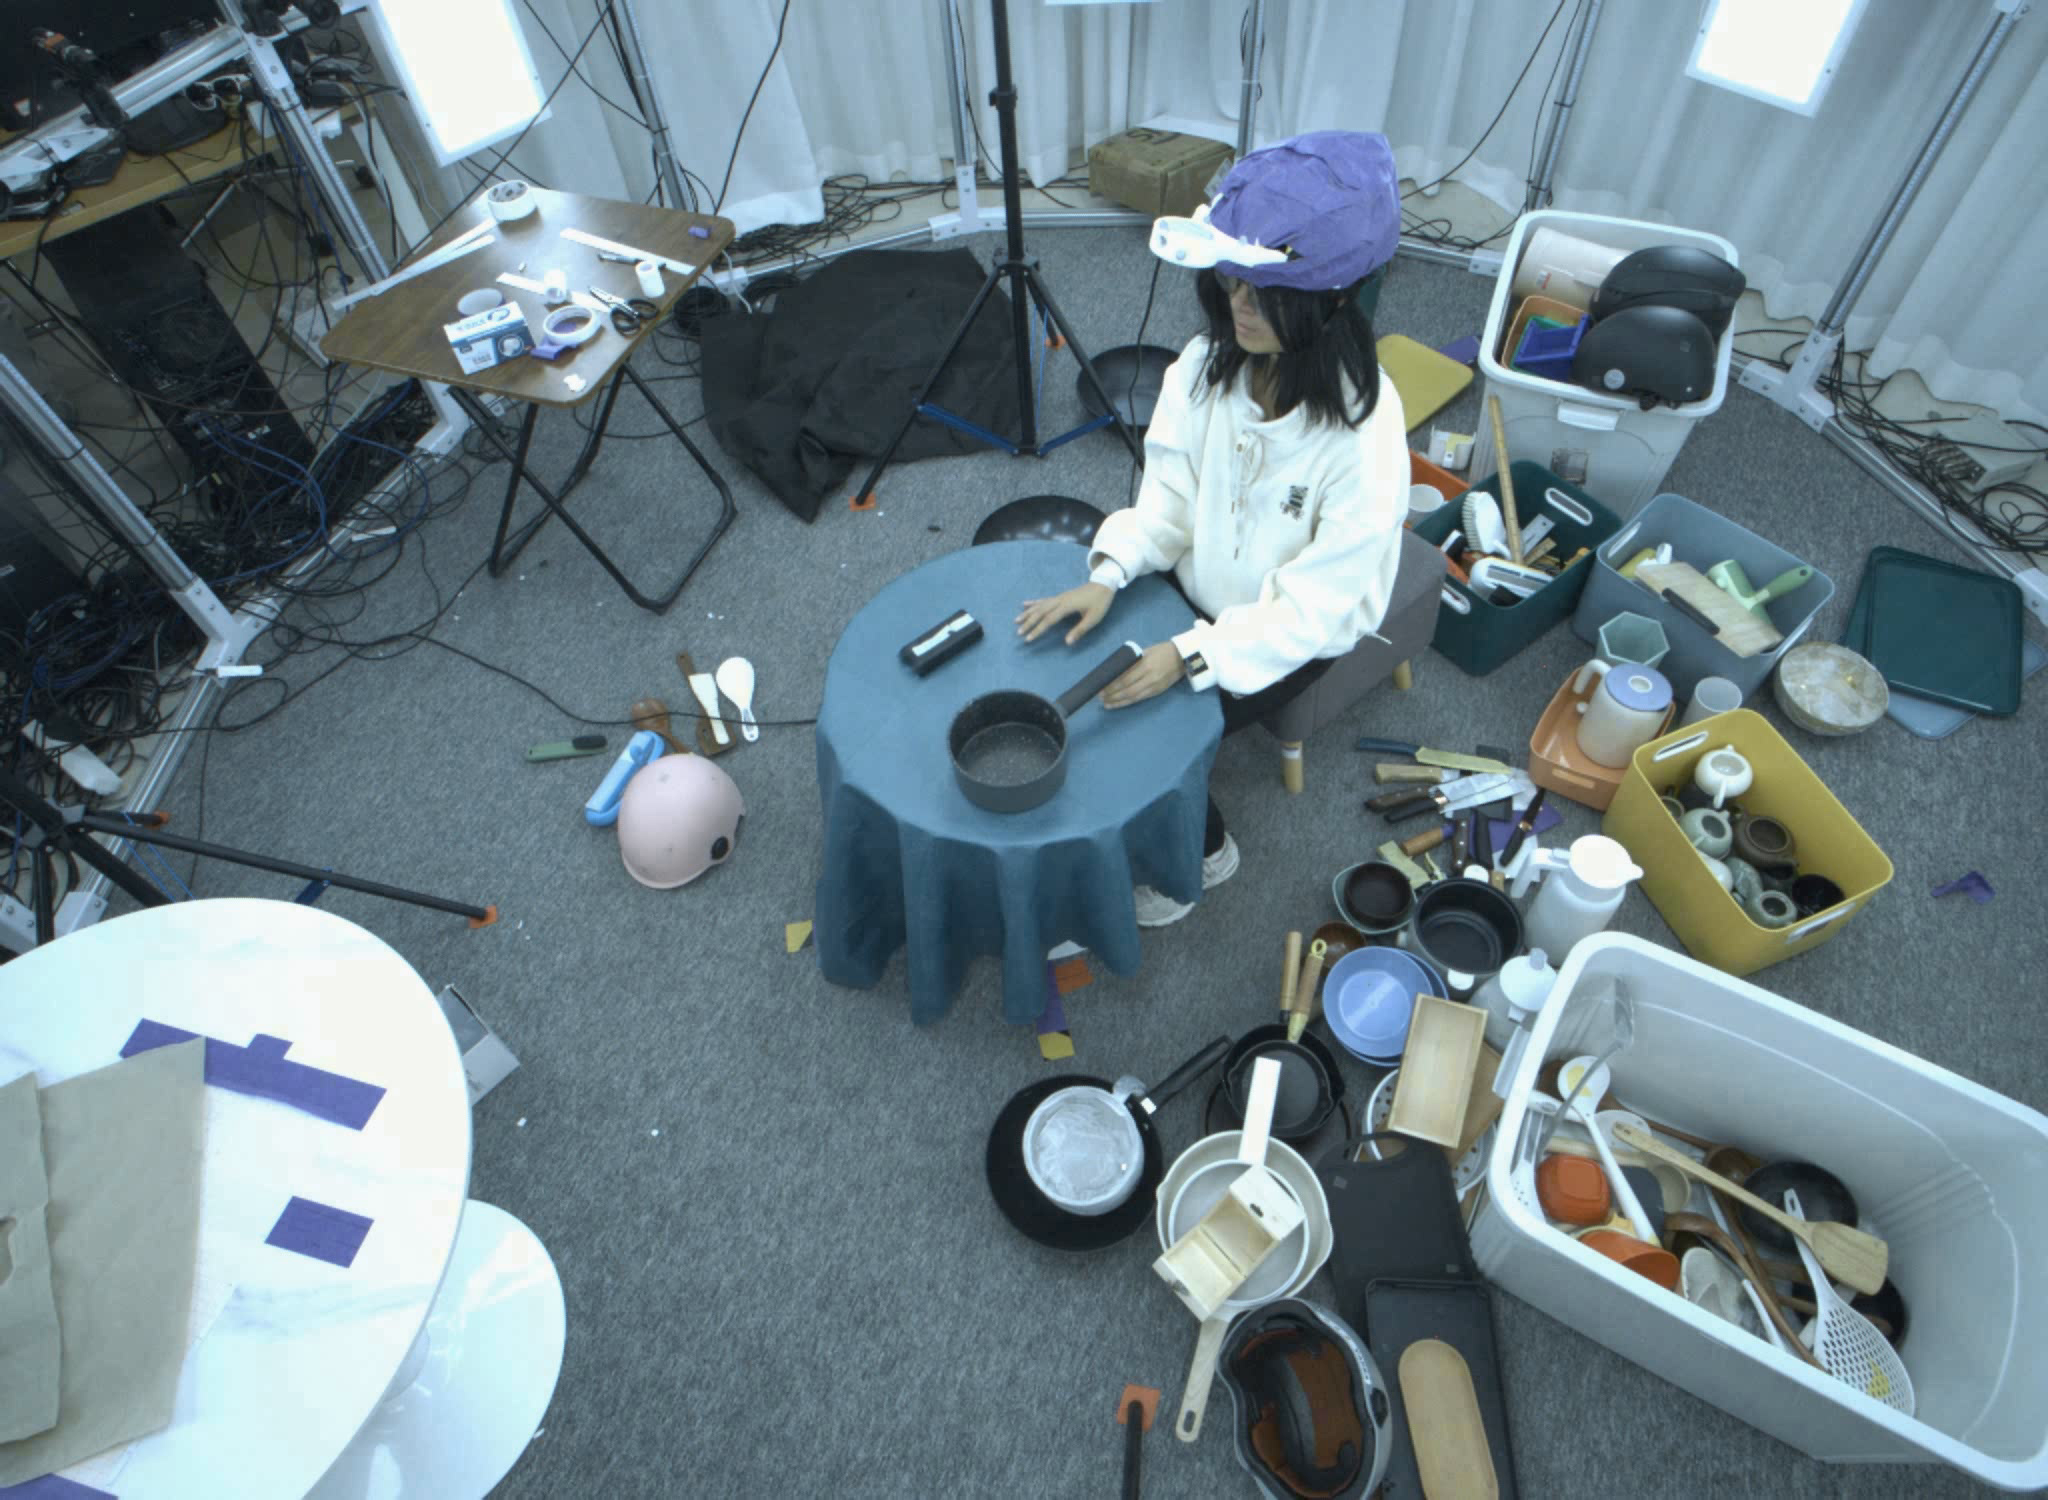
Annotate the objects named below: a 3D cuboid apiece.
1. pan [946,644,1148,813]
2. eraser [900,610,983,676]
[{"bbox_3d":[0.041,-0.040,1.763,0.331,0.087,0.169,-33,61,-18],"label":"pan"},{"bbox_3d":[-0.127,-0.165,1.893,0.126,0.031,0.052,-35,61,-22],"label":"eraser"}]
